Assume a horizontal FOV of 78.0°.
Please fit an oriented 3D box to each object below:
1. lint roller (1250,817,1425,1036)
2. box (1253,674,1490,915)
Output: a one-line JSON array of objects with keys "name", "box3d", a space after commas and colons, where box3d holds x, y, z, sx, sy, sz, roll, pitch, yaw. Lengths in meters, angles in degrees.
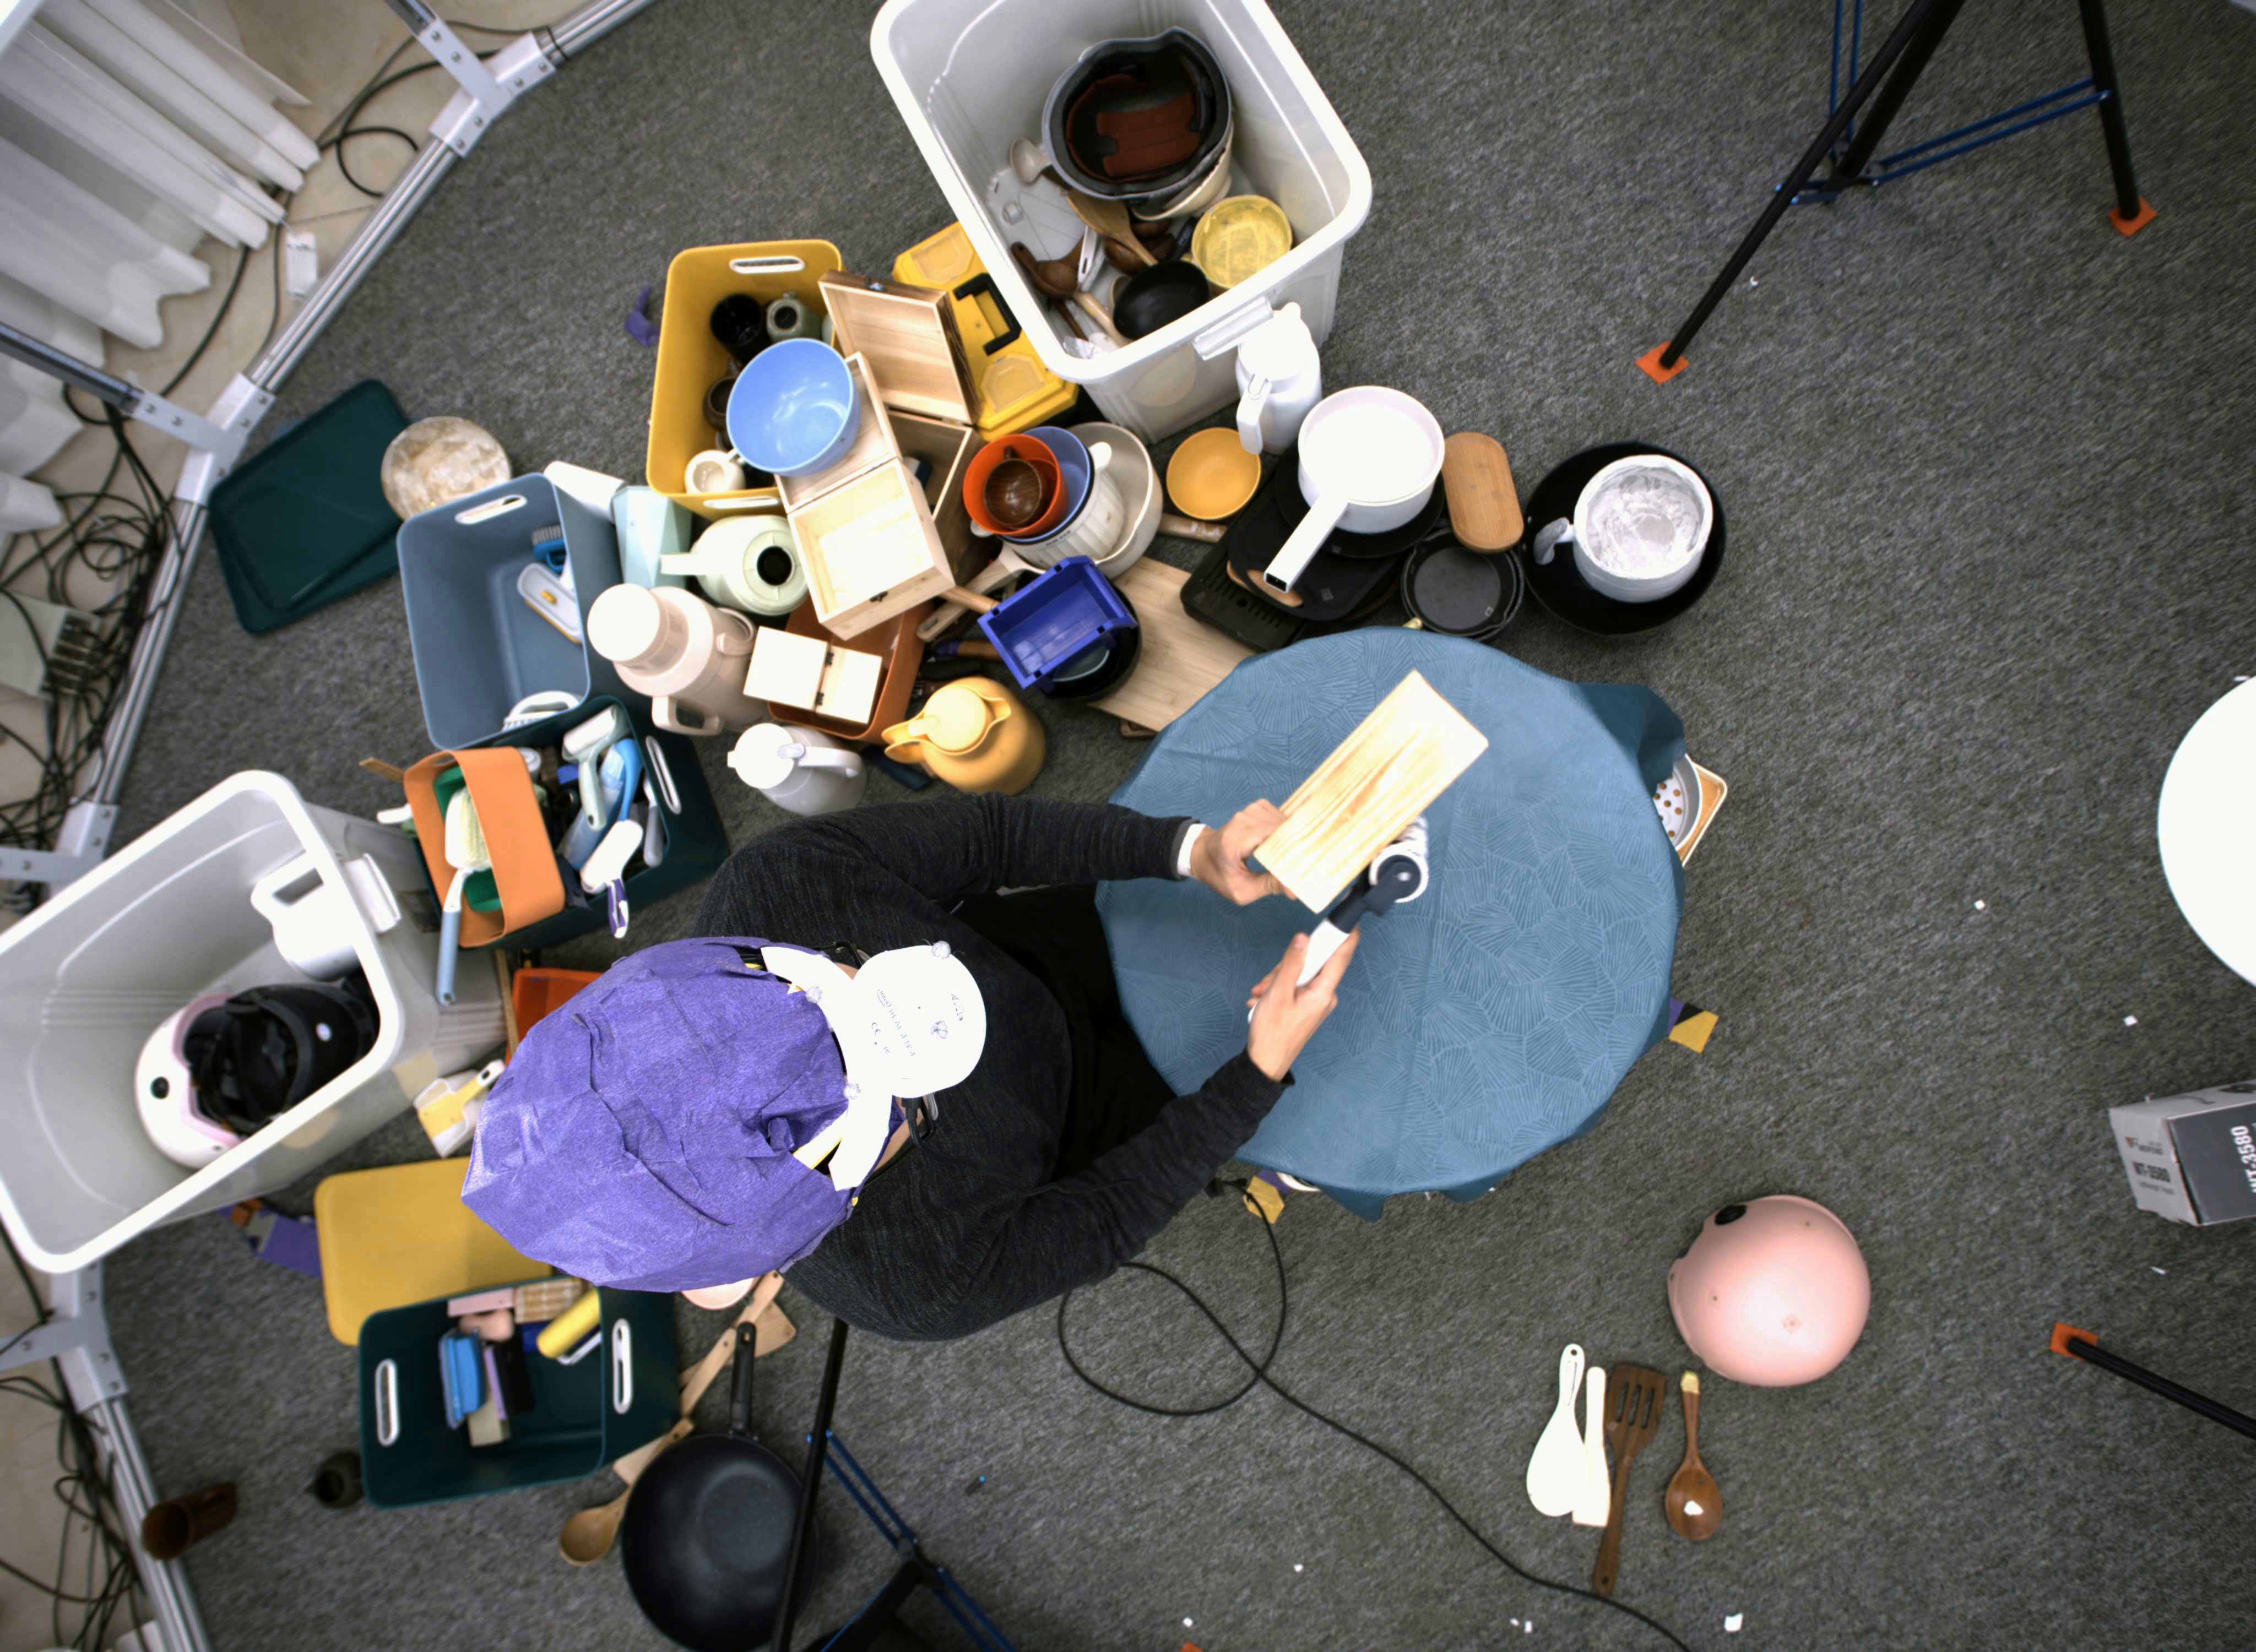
[{"name": "lint roller", "box3d": [0.197, 0.104, 1.299, 0.050, 0.173, 0.251, 33, 111, 2]}, {"name": "box", "box3d": [0.215, -0.031, 1.238, 0.080, 0.106, 0.214, 43, 106, -4]}]
